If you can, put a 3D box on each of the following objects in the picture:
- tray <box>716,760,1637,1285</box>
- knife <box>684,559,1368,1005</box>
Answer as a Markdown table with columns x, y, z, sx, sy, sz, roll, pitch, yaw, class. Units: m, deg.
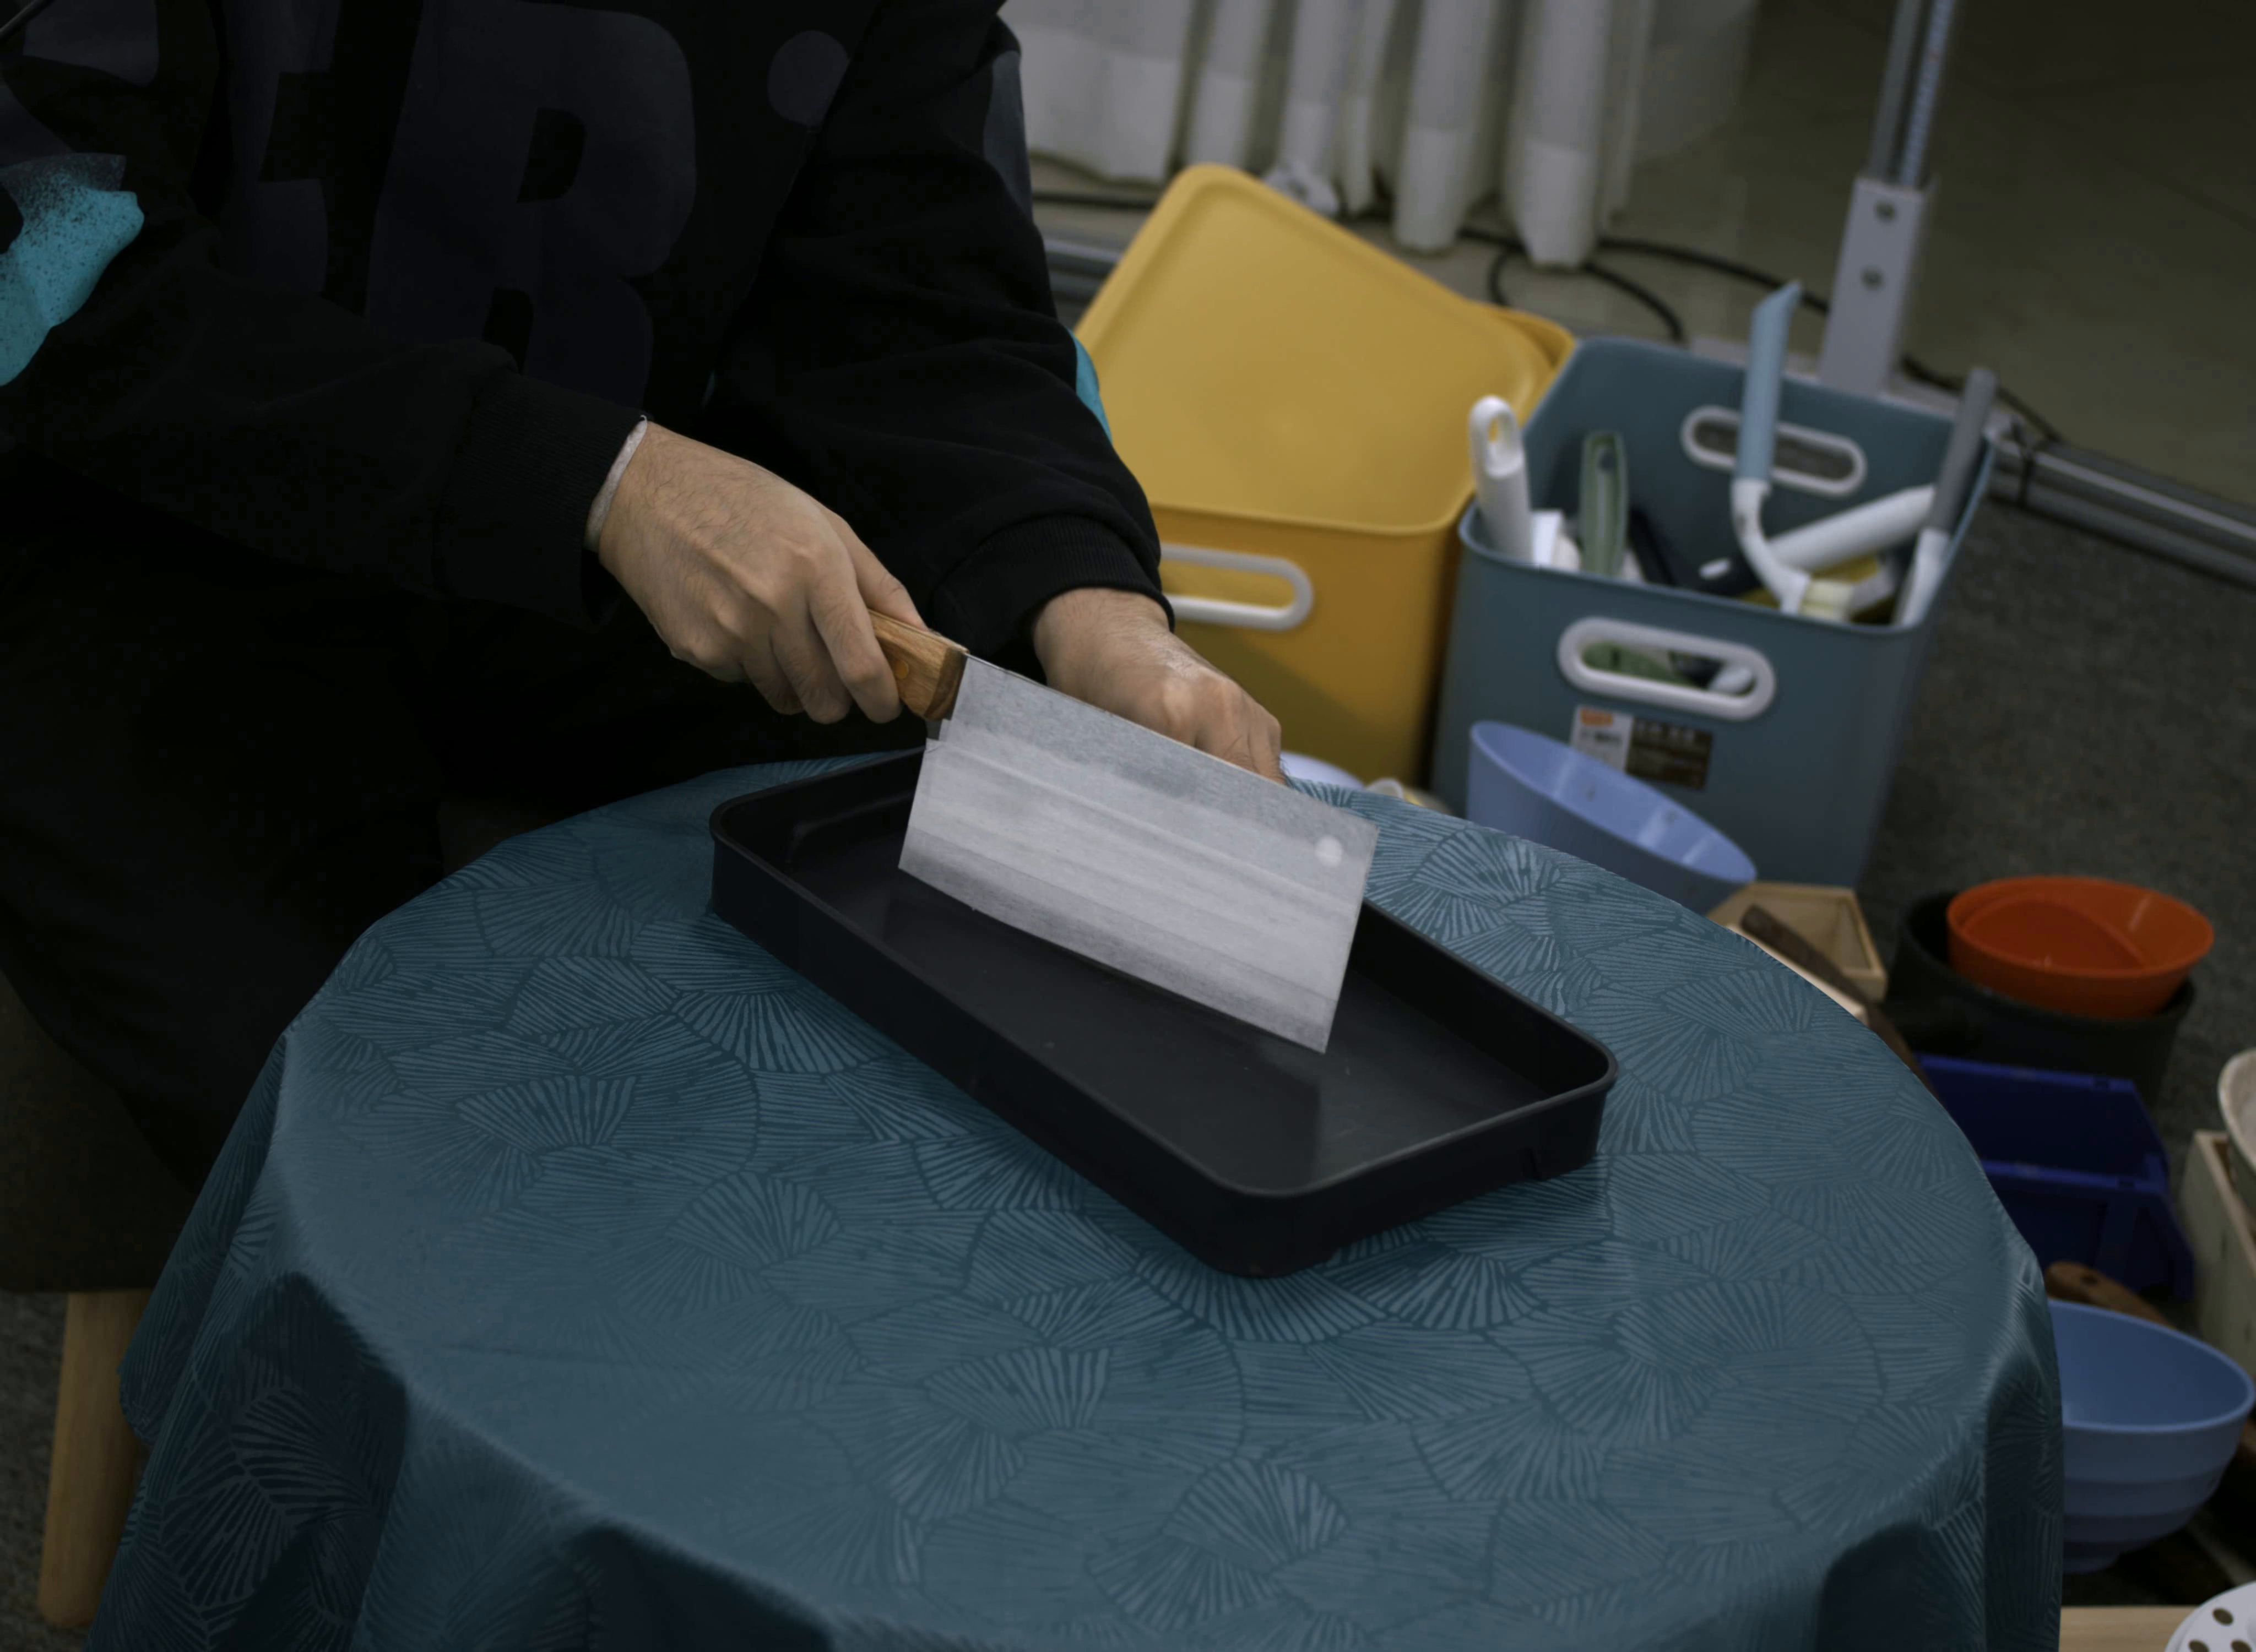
| x | y | z | sx | sy | sz | roll | pitch | yaw | class |
| --- | --- | --- | --- | --- | --- | --- | --- | --- | --- |
| 0.012 | 0.057 | 1.896 | 0.183 | 0.037 | 0.320 | -18 | 35 | -38 | tray |
| -0.045 | -0.014 | 1.935 | 0.307 | 0.093 | 0.021 | 23 | 21 | 29 | knife |
